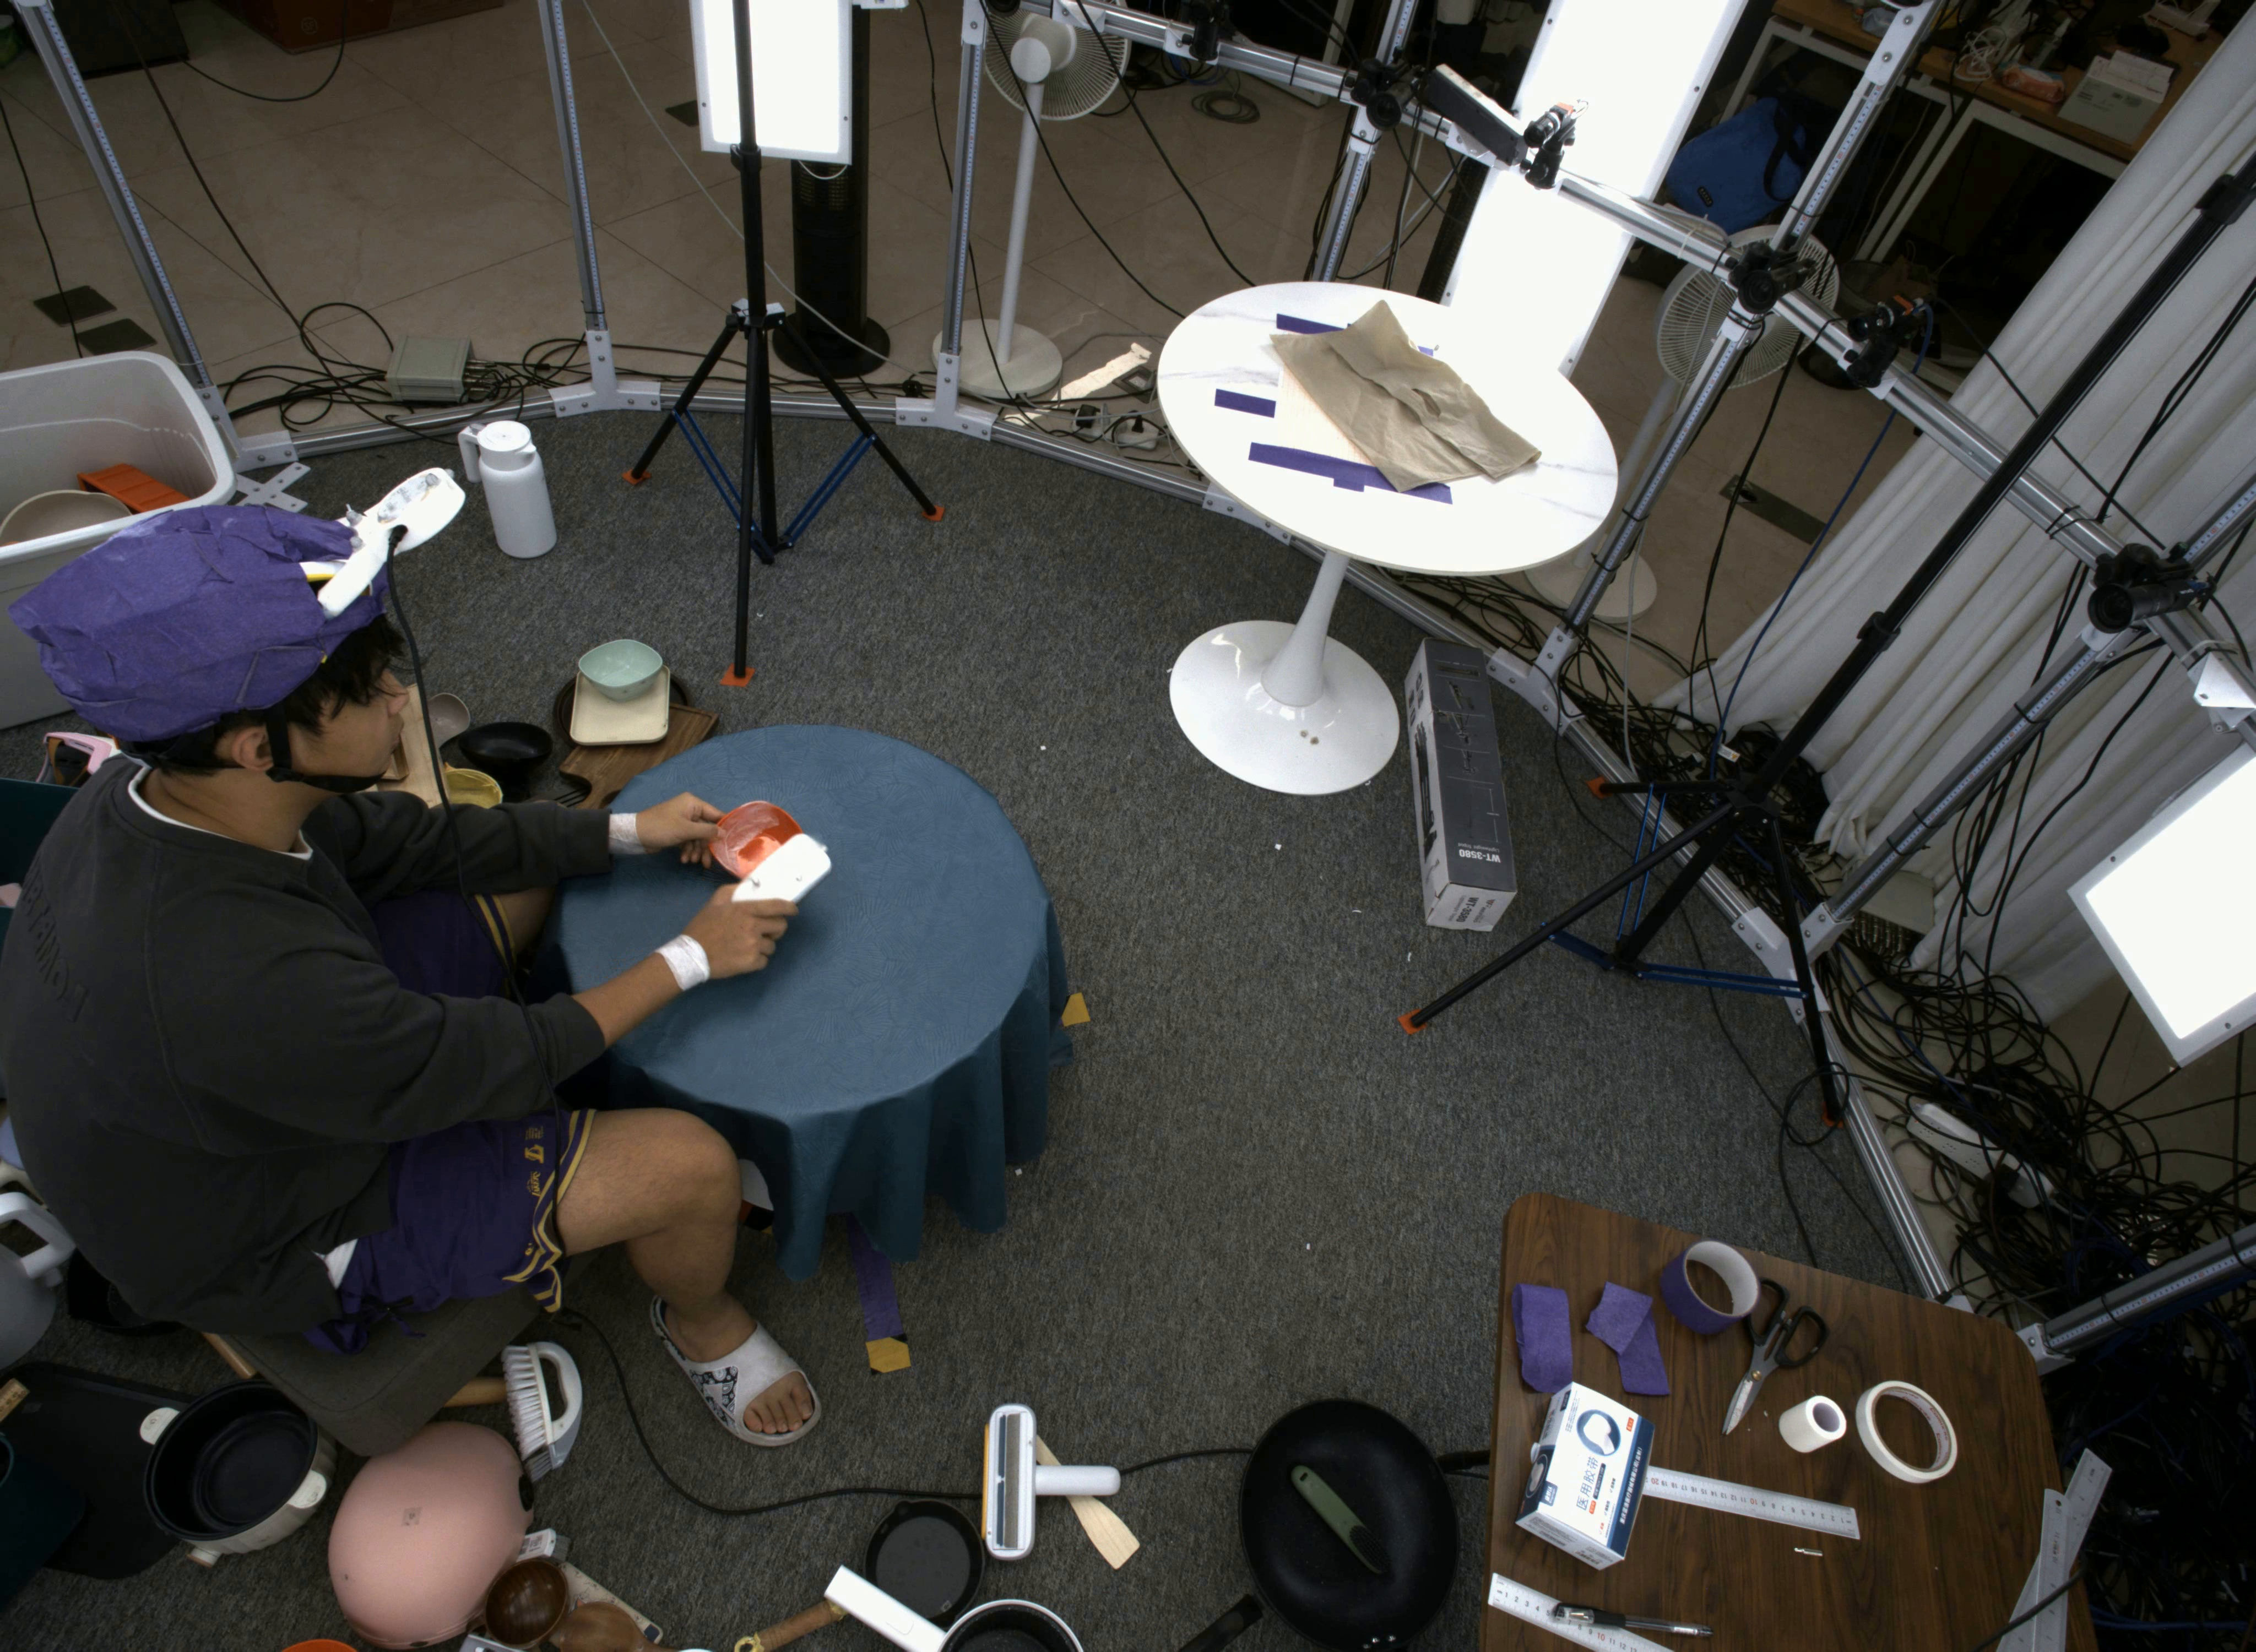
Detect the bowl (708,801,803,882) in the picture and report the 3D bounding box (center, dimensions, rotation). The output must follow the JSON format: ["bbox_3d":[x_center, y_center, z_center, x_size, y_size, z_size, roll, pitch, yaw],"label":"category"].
[{"bbox_3d":[-0.474,0.030,1.657,0.118,0.052,0.117,5,58,-6],"label":"bowl"}]

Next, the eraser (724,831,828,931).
[{"bbox_3d":[-0.432,0.065,1.587,0.131,0.035,0.062,-43,73,-13],"label":"eraser"}]
